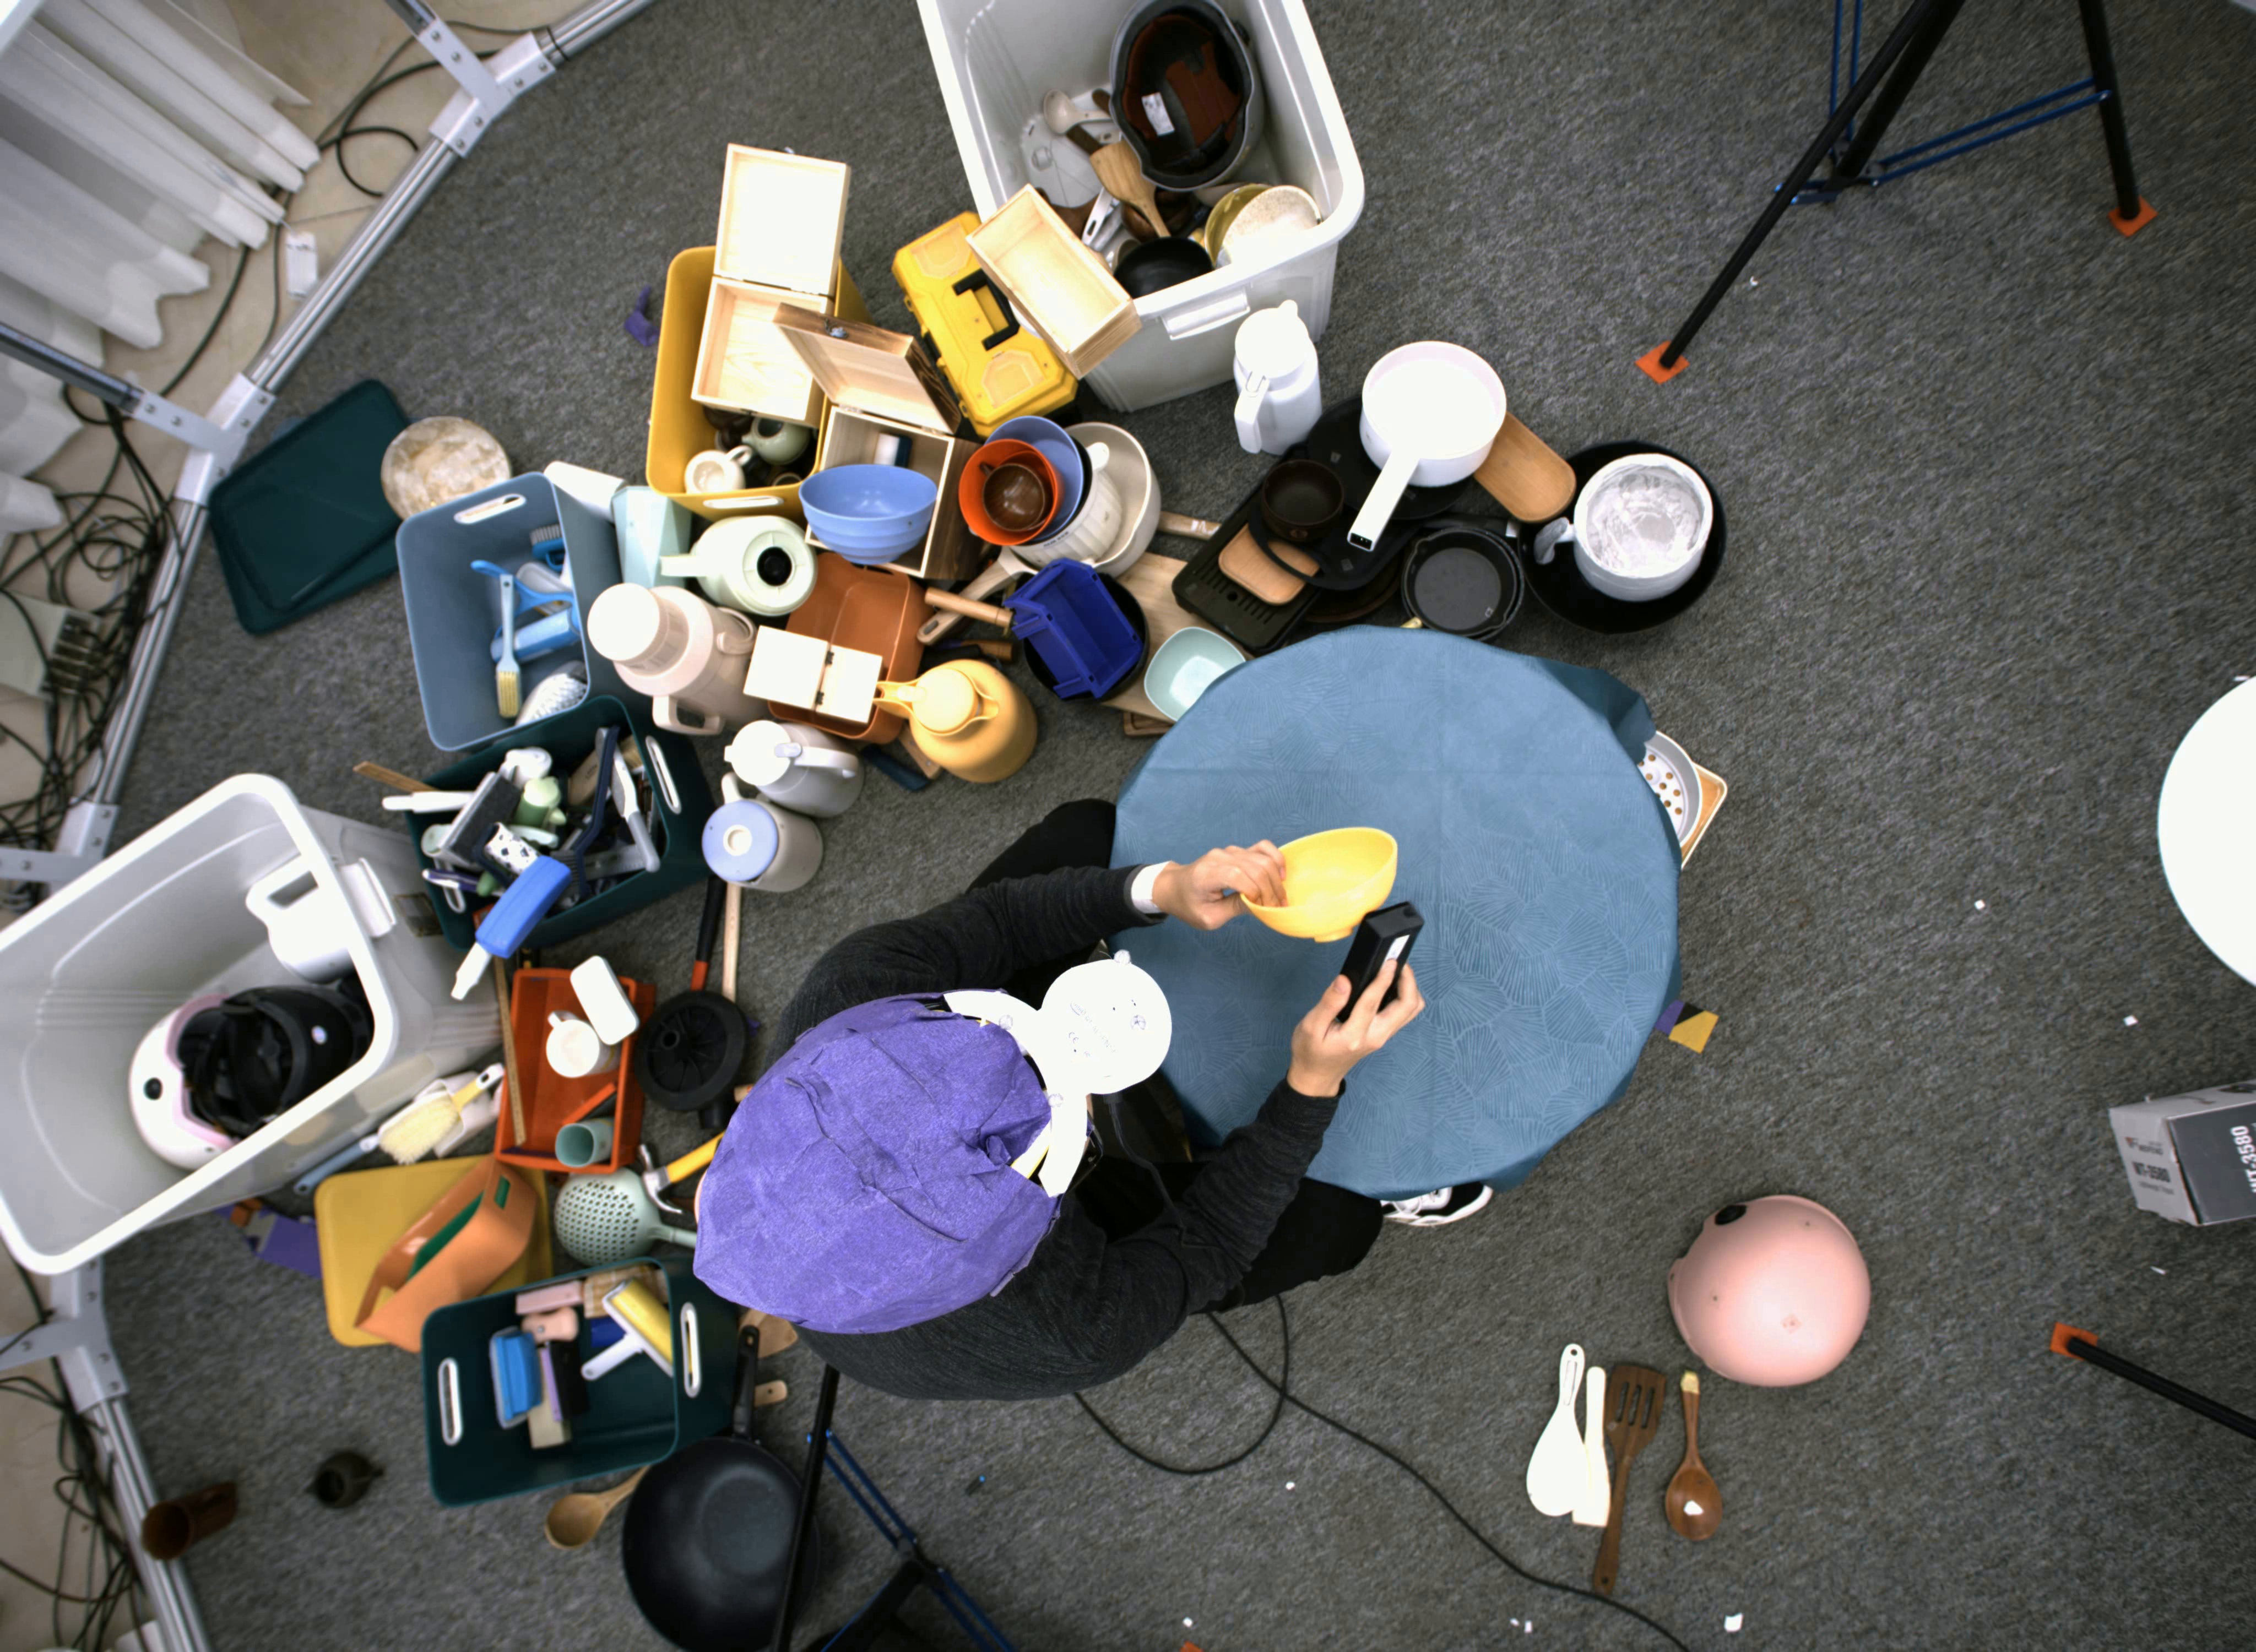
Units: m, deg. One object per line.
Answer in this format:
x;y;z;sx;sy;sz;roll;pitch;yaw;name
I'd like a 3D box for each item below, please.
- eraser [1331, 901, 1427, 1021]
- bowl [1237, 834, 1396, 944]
0.222;0.120;1.231;0.053;0.129;0.030;-15;51;-24;eraser
0.174;0.063;1.237;0.146;0.142;0.061;-16;110;8;bowl
